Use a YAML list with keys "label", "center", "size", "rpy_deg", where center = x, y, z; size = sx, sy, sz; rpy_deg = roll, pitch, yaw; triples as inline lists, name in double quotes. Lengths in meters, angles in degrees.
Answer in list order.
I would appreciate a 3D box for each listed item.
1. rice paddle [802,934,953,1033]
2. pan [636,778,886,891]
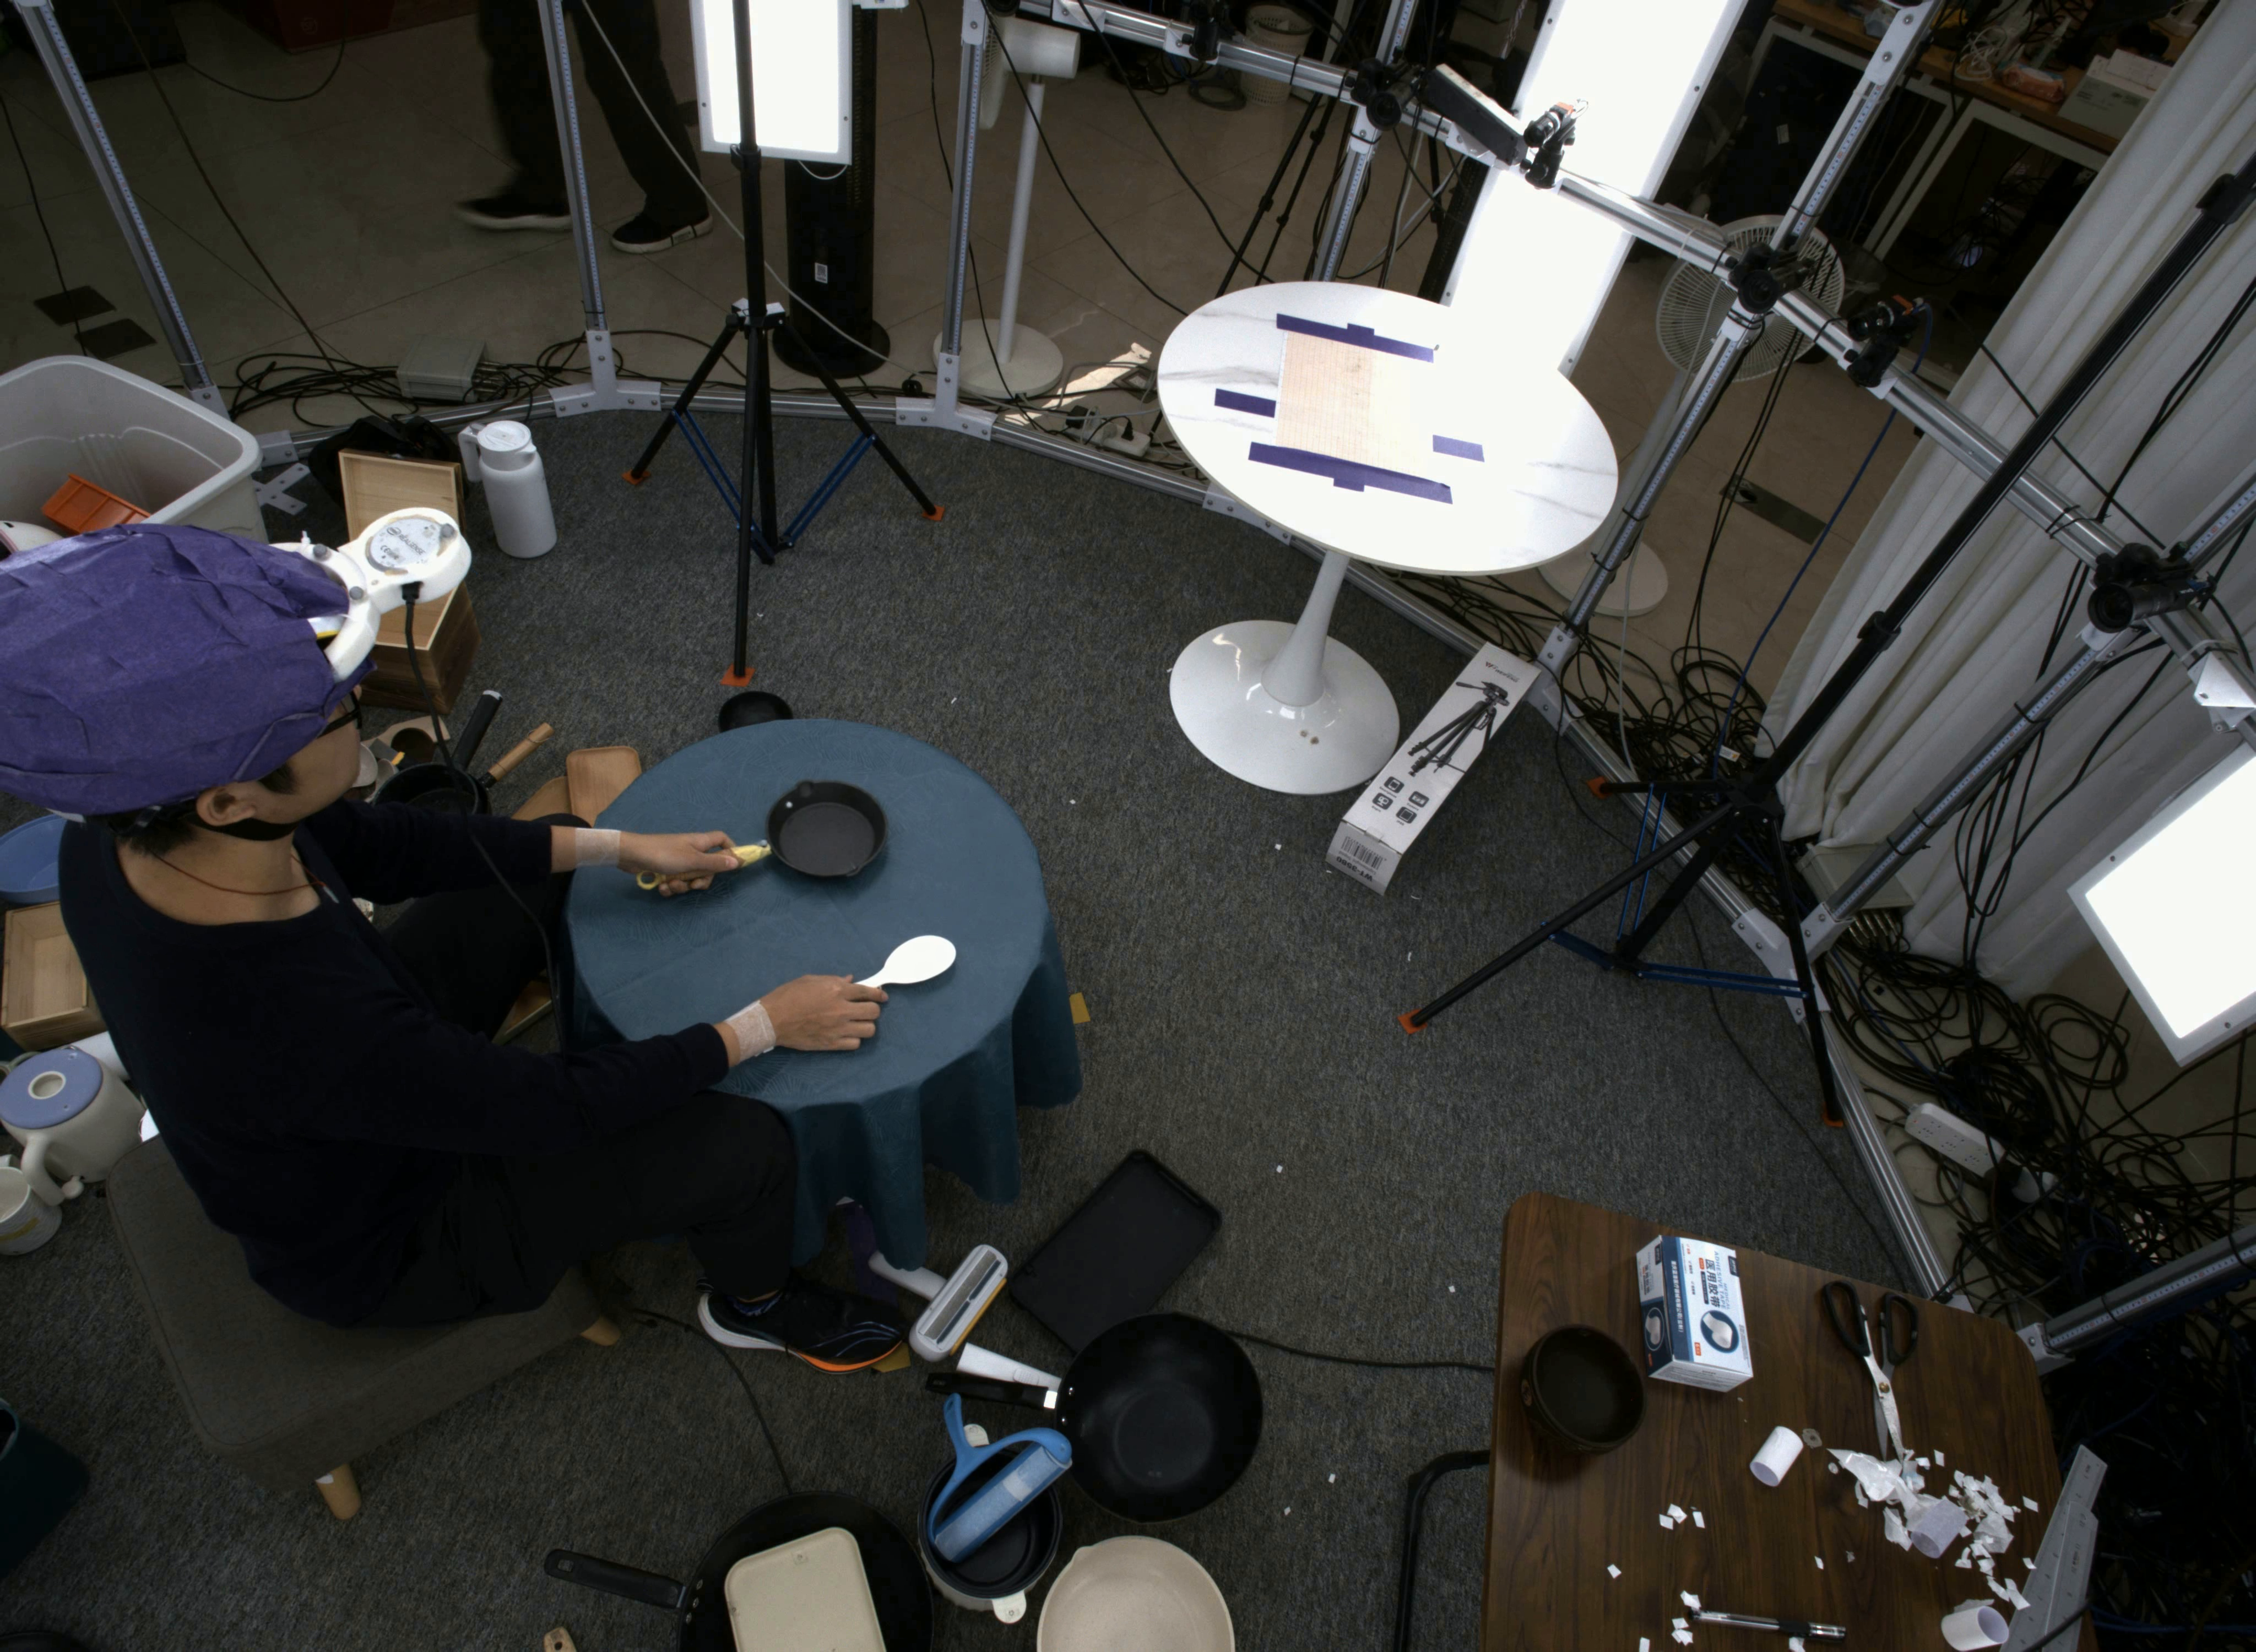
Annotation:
- label: "rice paddle"
  center: [-0.302, 0.185, 1.588]
  size: [0.206, 0.030, 0.066]
  rpy_deg: [-29, 54, -31]
- label: "pan"
  center: [-0.466, 0.028, 1.649]
  size: [0.326, 0.050, 0.165]
  rpy_deg: [-18, 60, -28]
